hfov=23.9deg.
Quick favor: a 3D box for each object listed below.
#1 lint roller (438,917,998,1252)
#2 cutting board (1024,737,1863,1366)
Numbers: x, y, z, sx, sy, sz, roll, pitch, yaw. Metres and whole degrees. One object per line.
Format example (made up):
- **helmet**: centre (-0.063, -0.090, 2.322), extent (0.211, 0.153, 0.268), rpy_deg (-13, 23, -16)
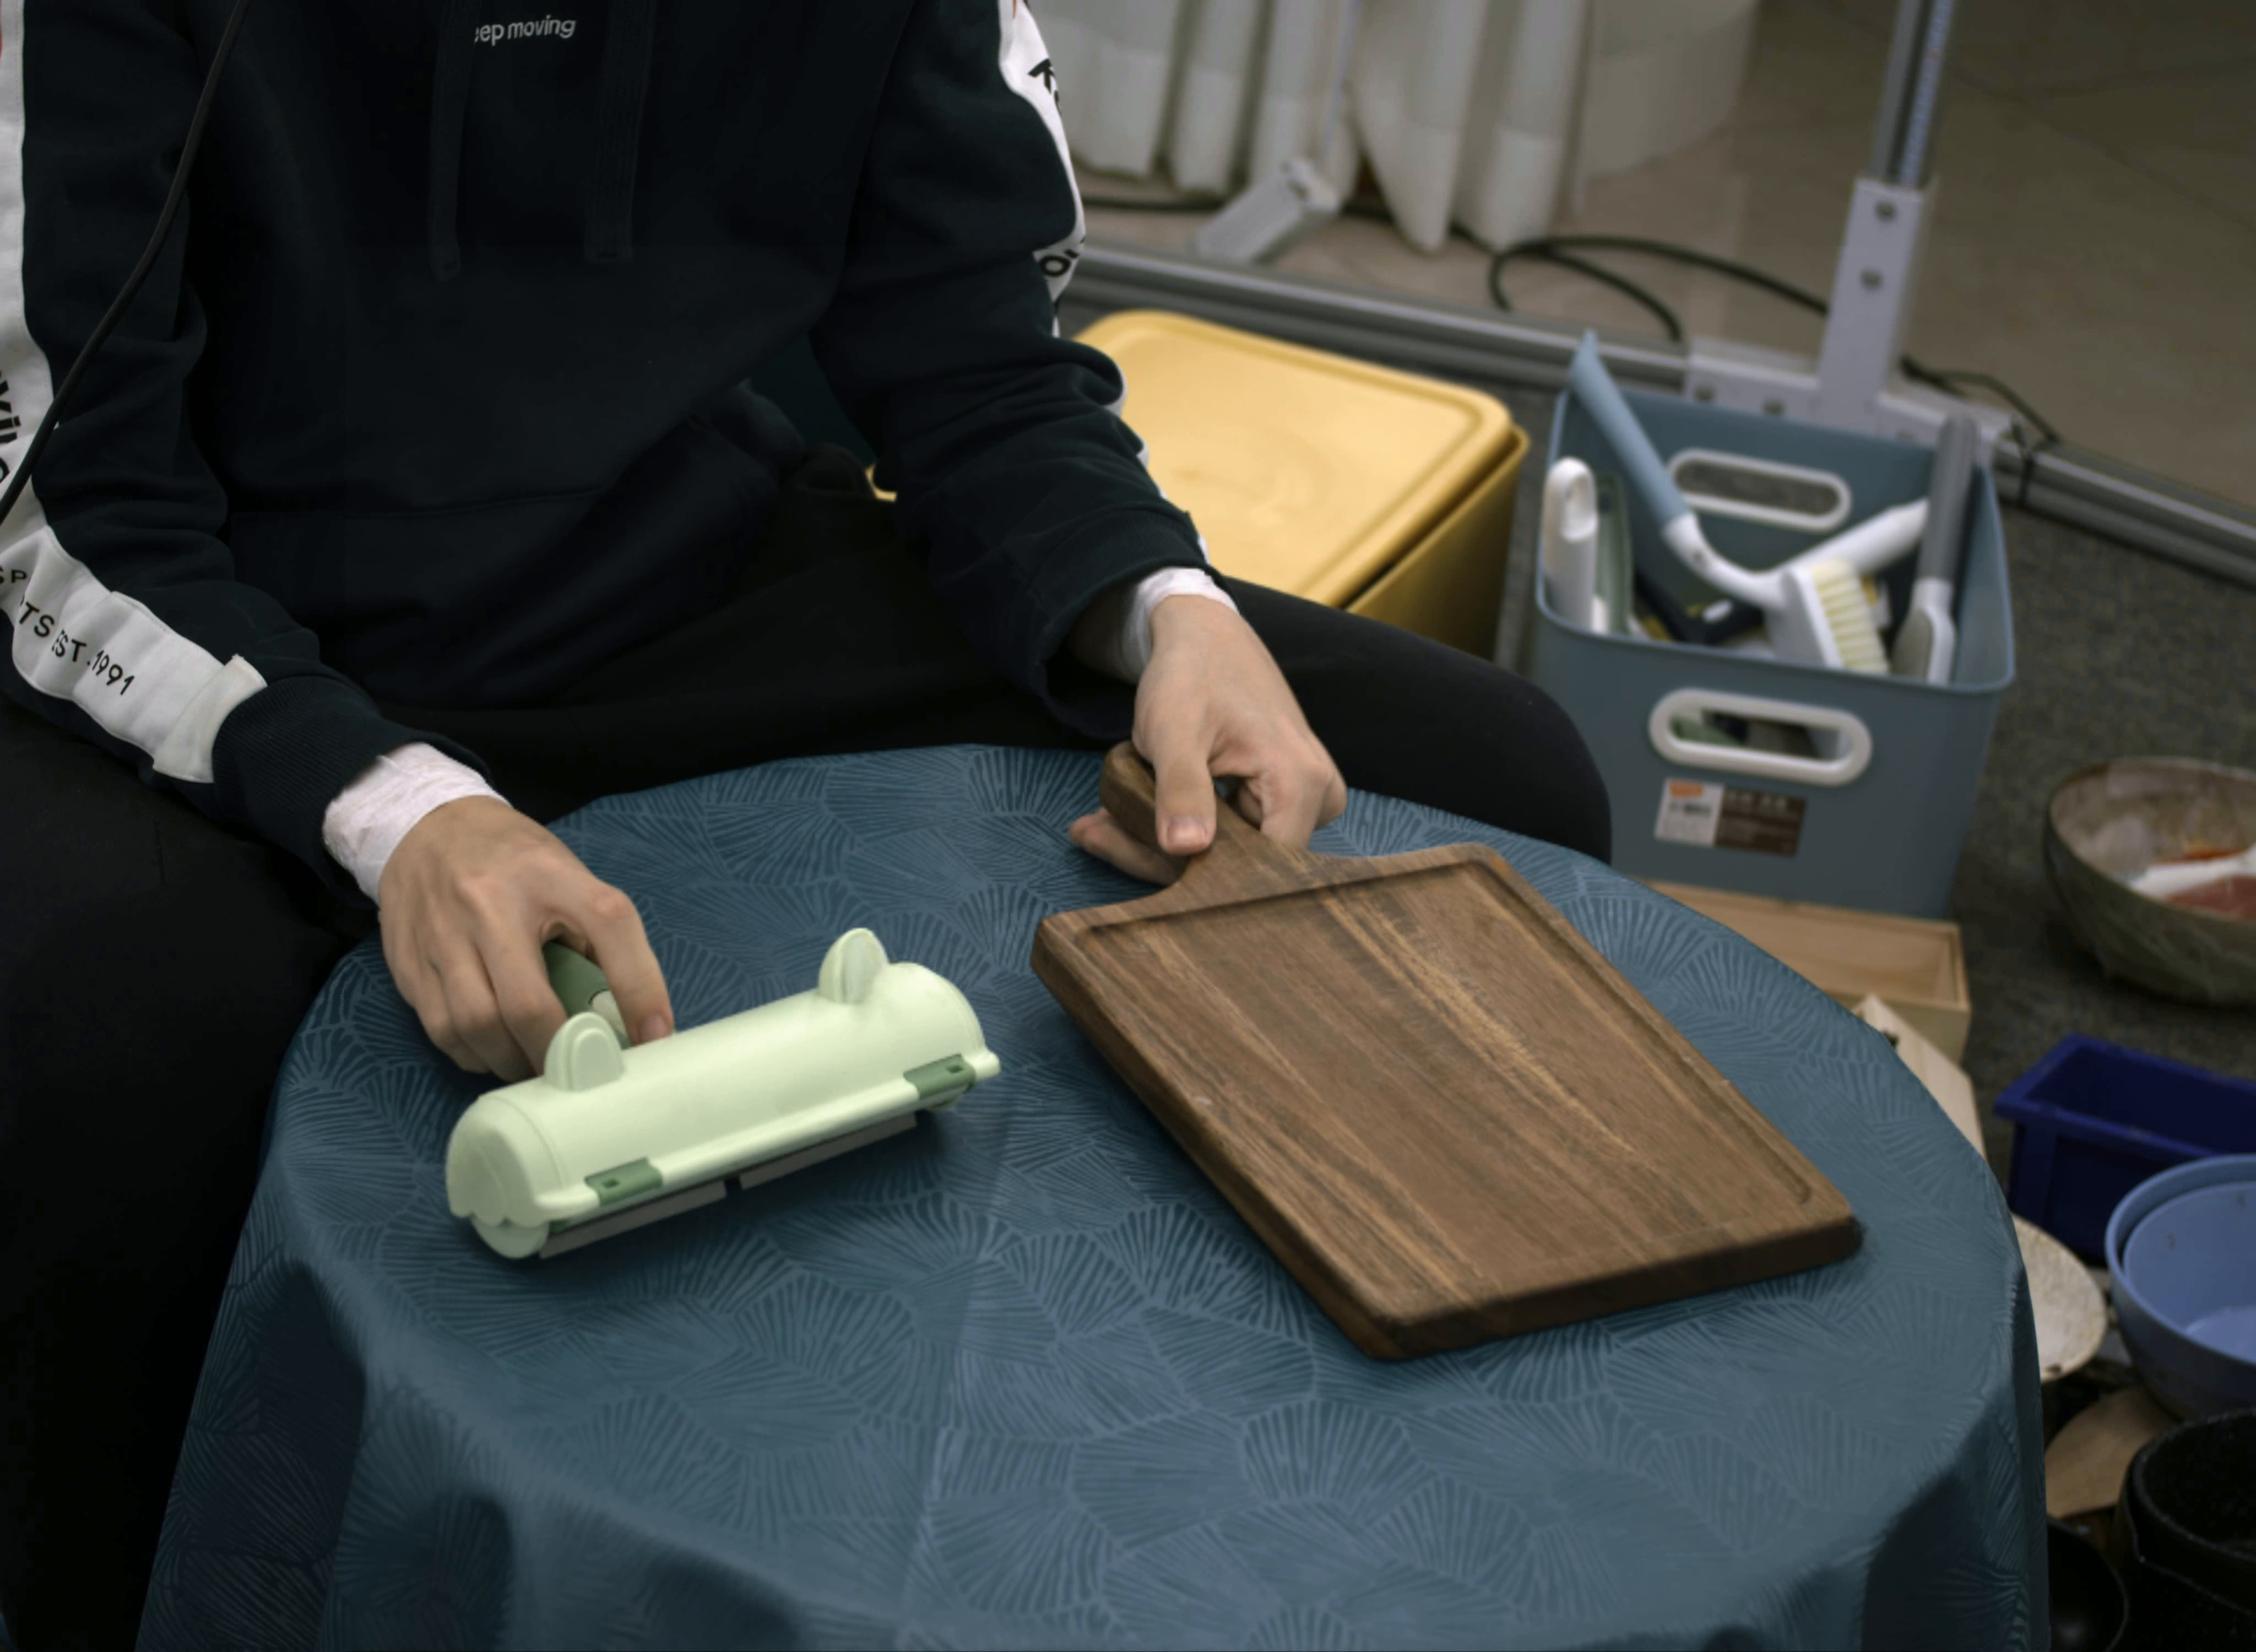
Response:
- **lint roller**: centre (-0.170, 0.058, 1.794), extent (0.197, 0.082, 0.185), rpy_deg (-16, 41, -40)
- **cutting board**: centre (0.082, 0.064, 1.881), extent (0.200, 0.023, 0.355), rpy_deg (-10, 36, -29)
